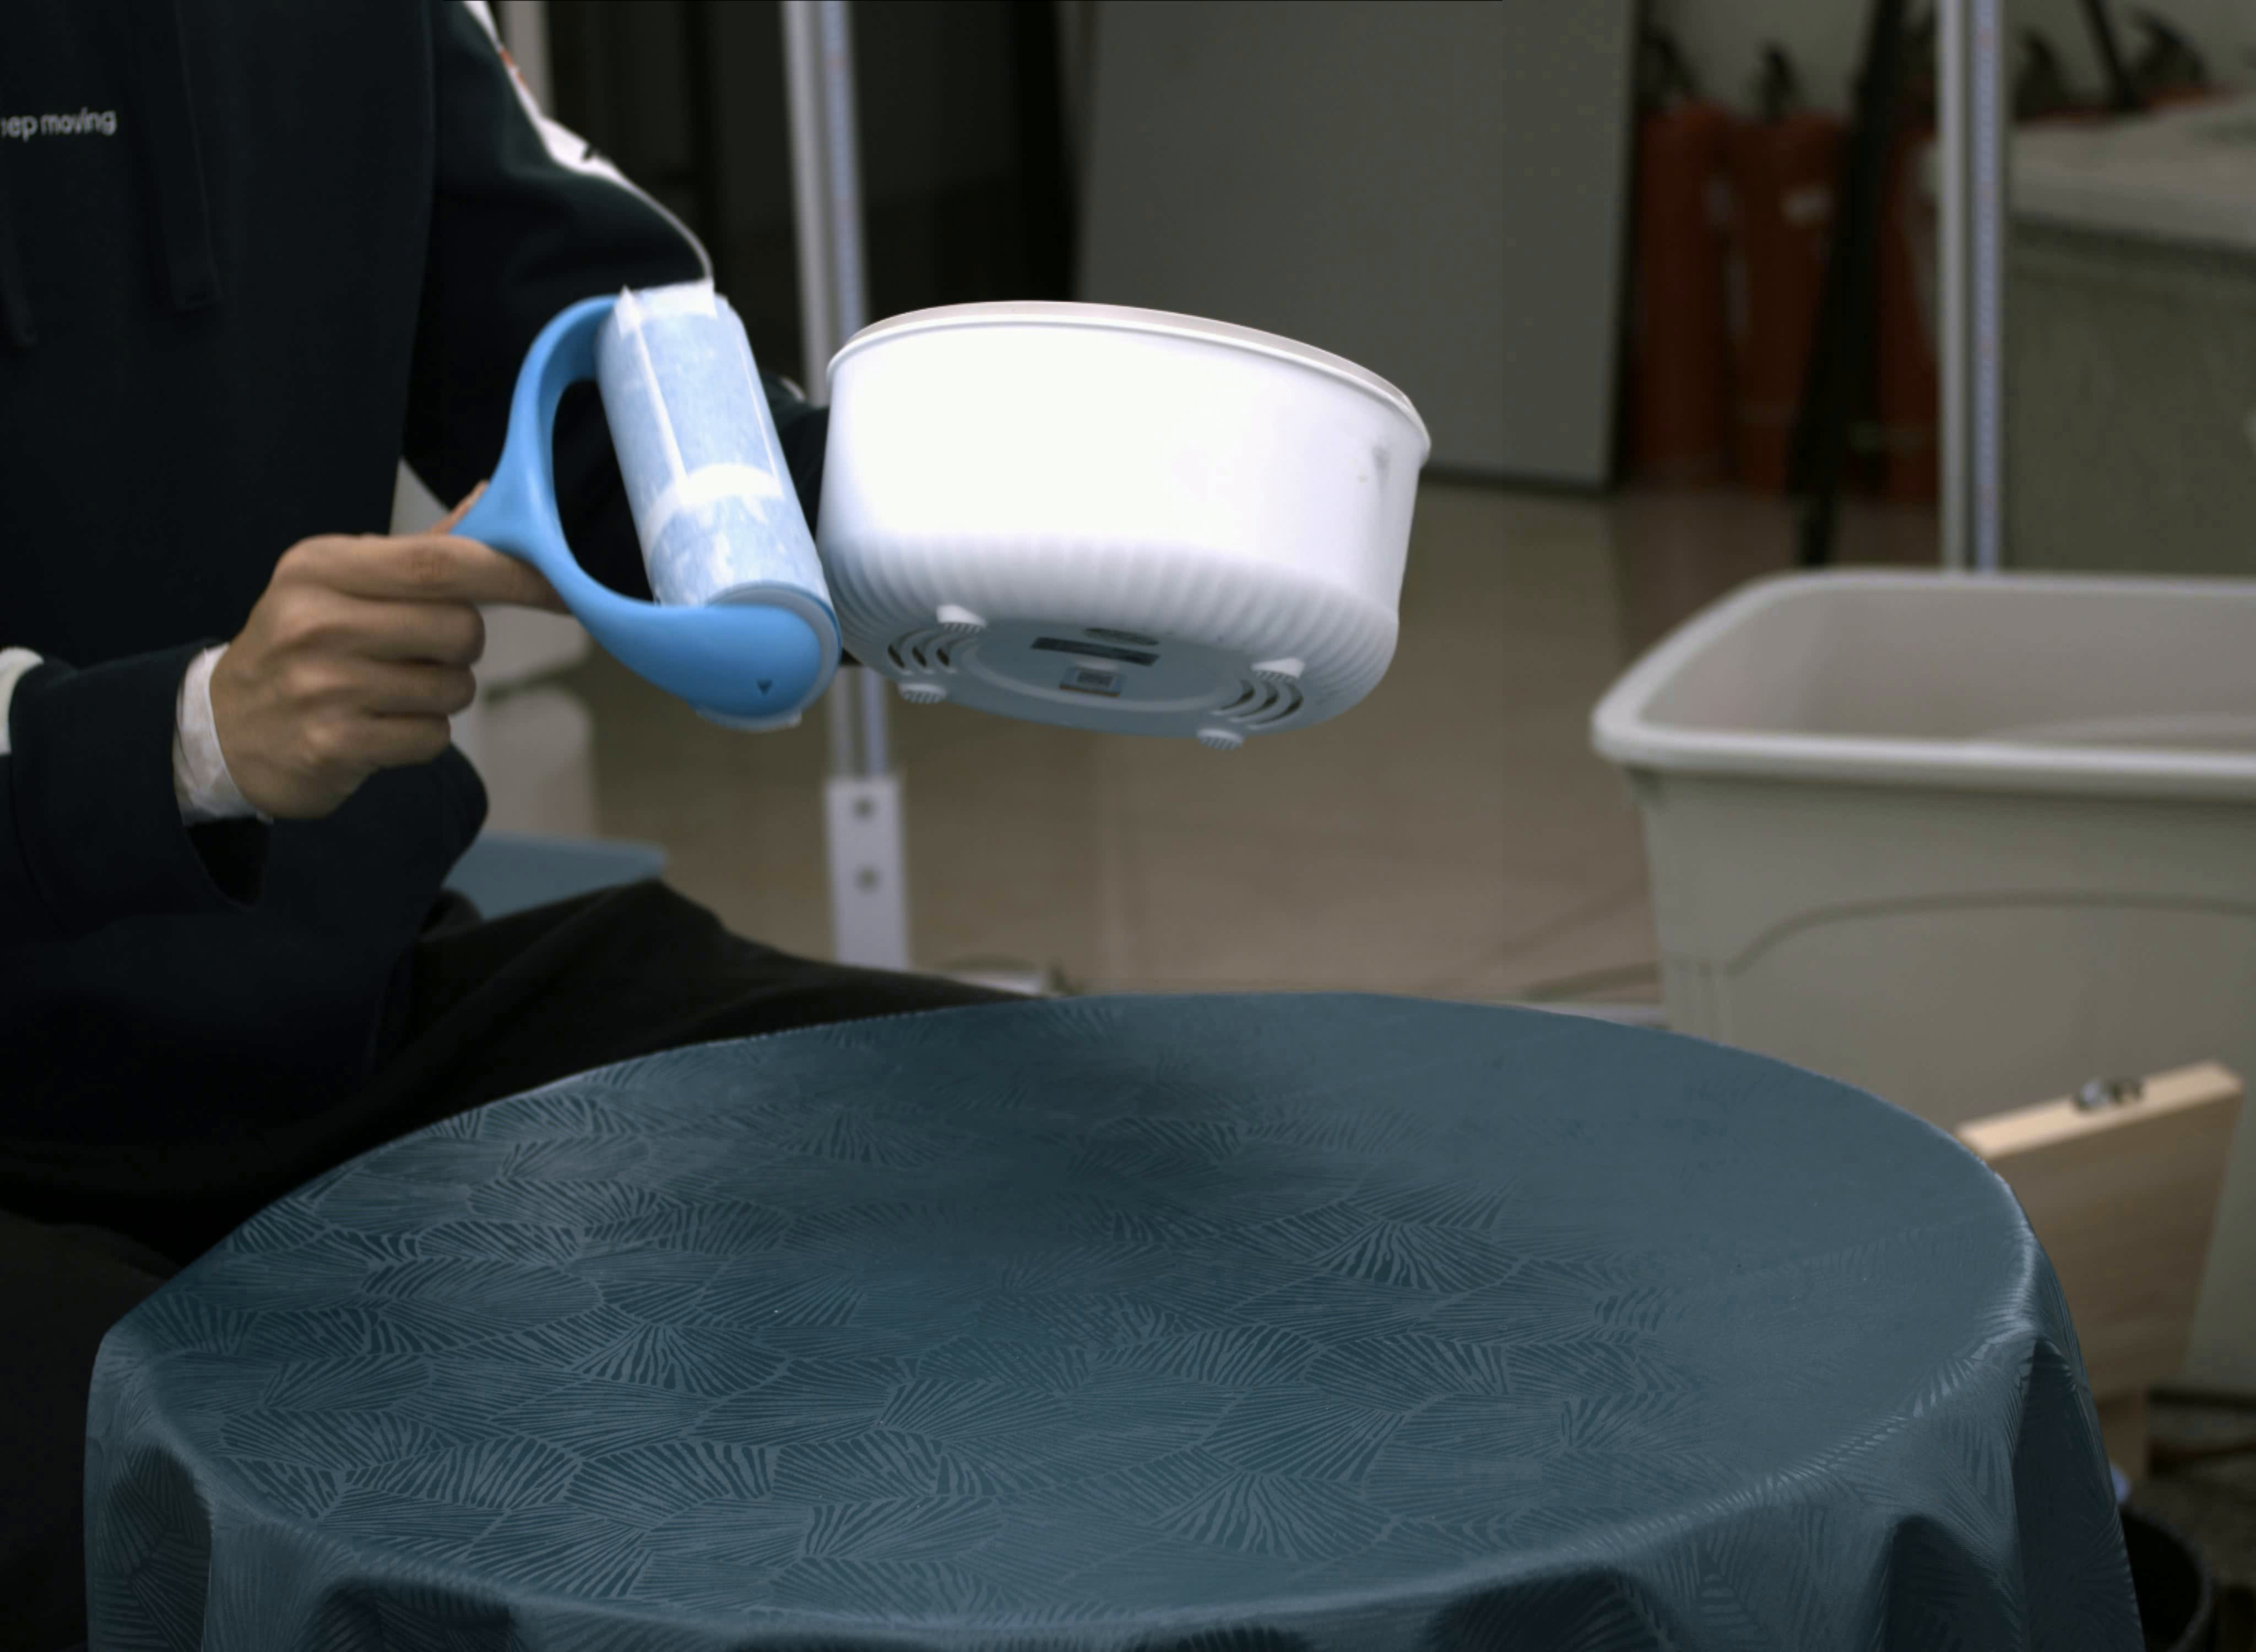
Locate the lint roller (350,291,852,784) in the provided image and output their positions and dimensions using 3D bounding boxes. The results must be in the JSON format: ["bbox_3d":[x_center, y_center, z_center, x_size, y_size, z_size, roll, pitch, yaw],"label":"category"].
[{"bbox_3d":[-0.184,-0.078,1.746,0.179,0.067,0.231,-28,36,2],"label":"lint roller"}]

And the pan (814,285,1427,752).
[{"bbox_3d":[-0.016,-0.077,1.840,0.198,0.103,0.356,9,-14,-6],"label":"pan"}]
